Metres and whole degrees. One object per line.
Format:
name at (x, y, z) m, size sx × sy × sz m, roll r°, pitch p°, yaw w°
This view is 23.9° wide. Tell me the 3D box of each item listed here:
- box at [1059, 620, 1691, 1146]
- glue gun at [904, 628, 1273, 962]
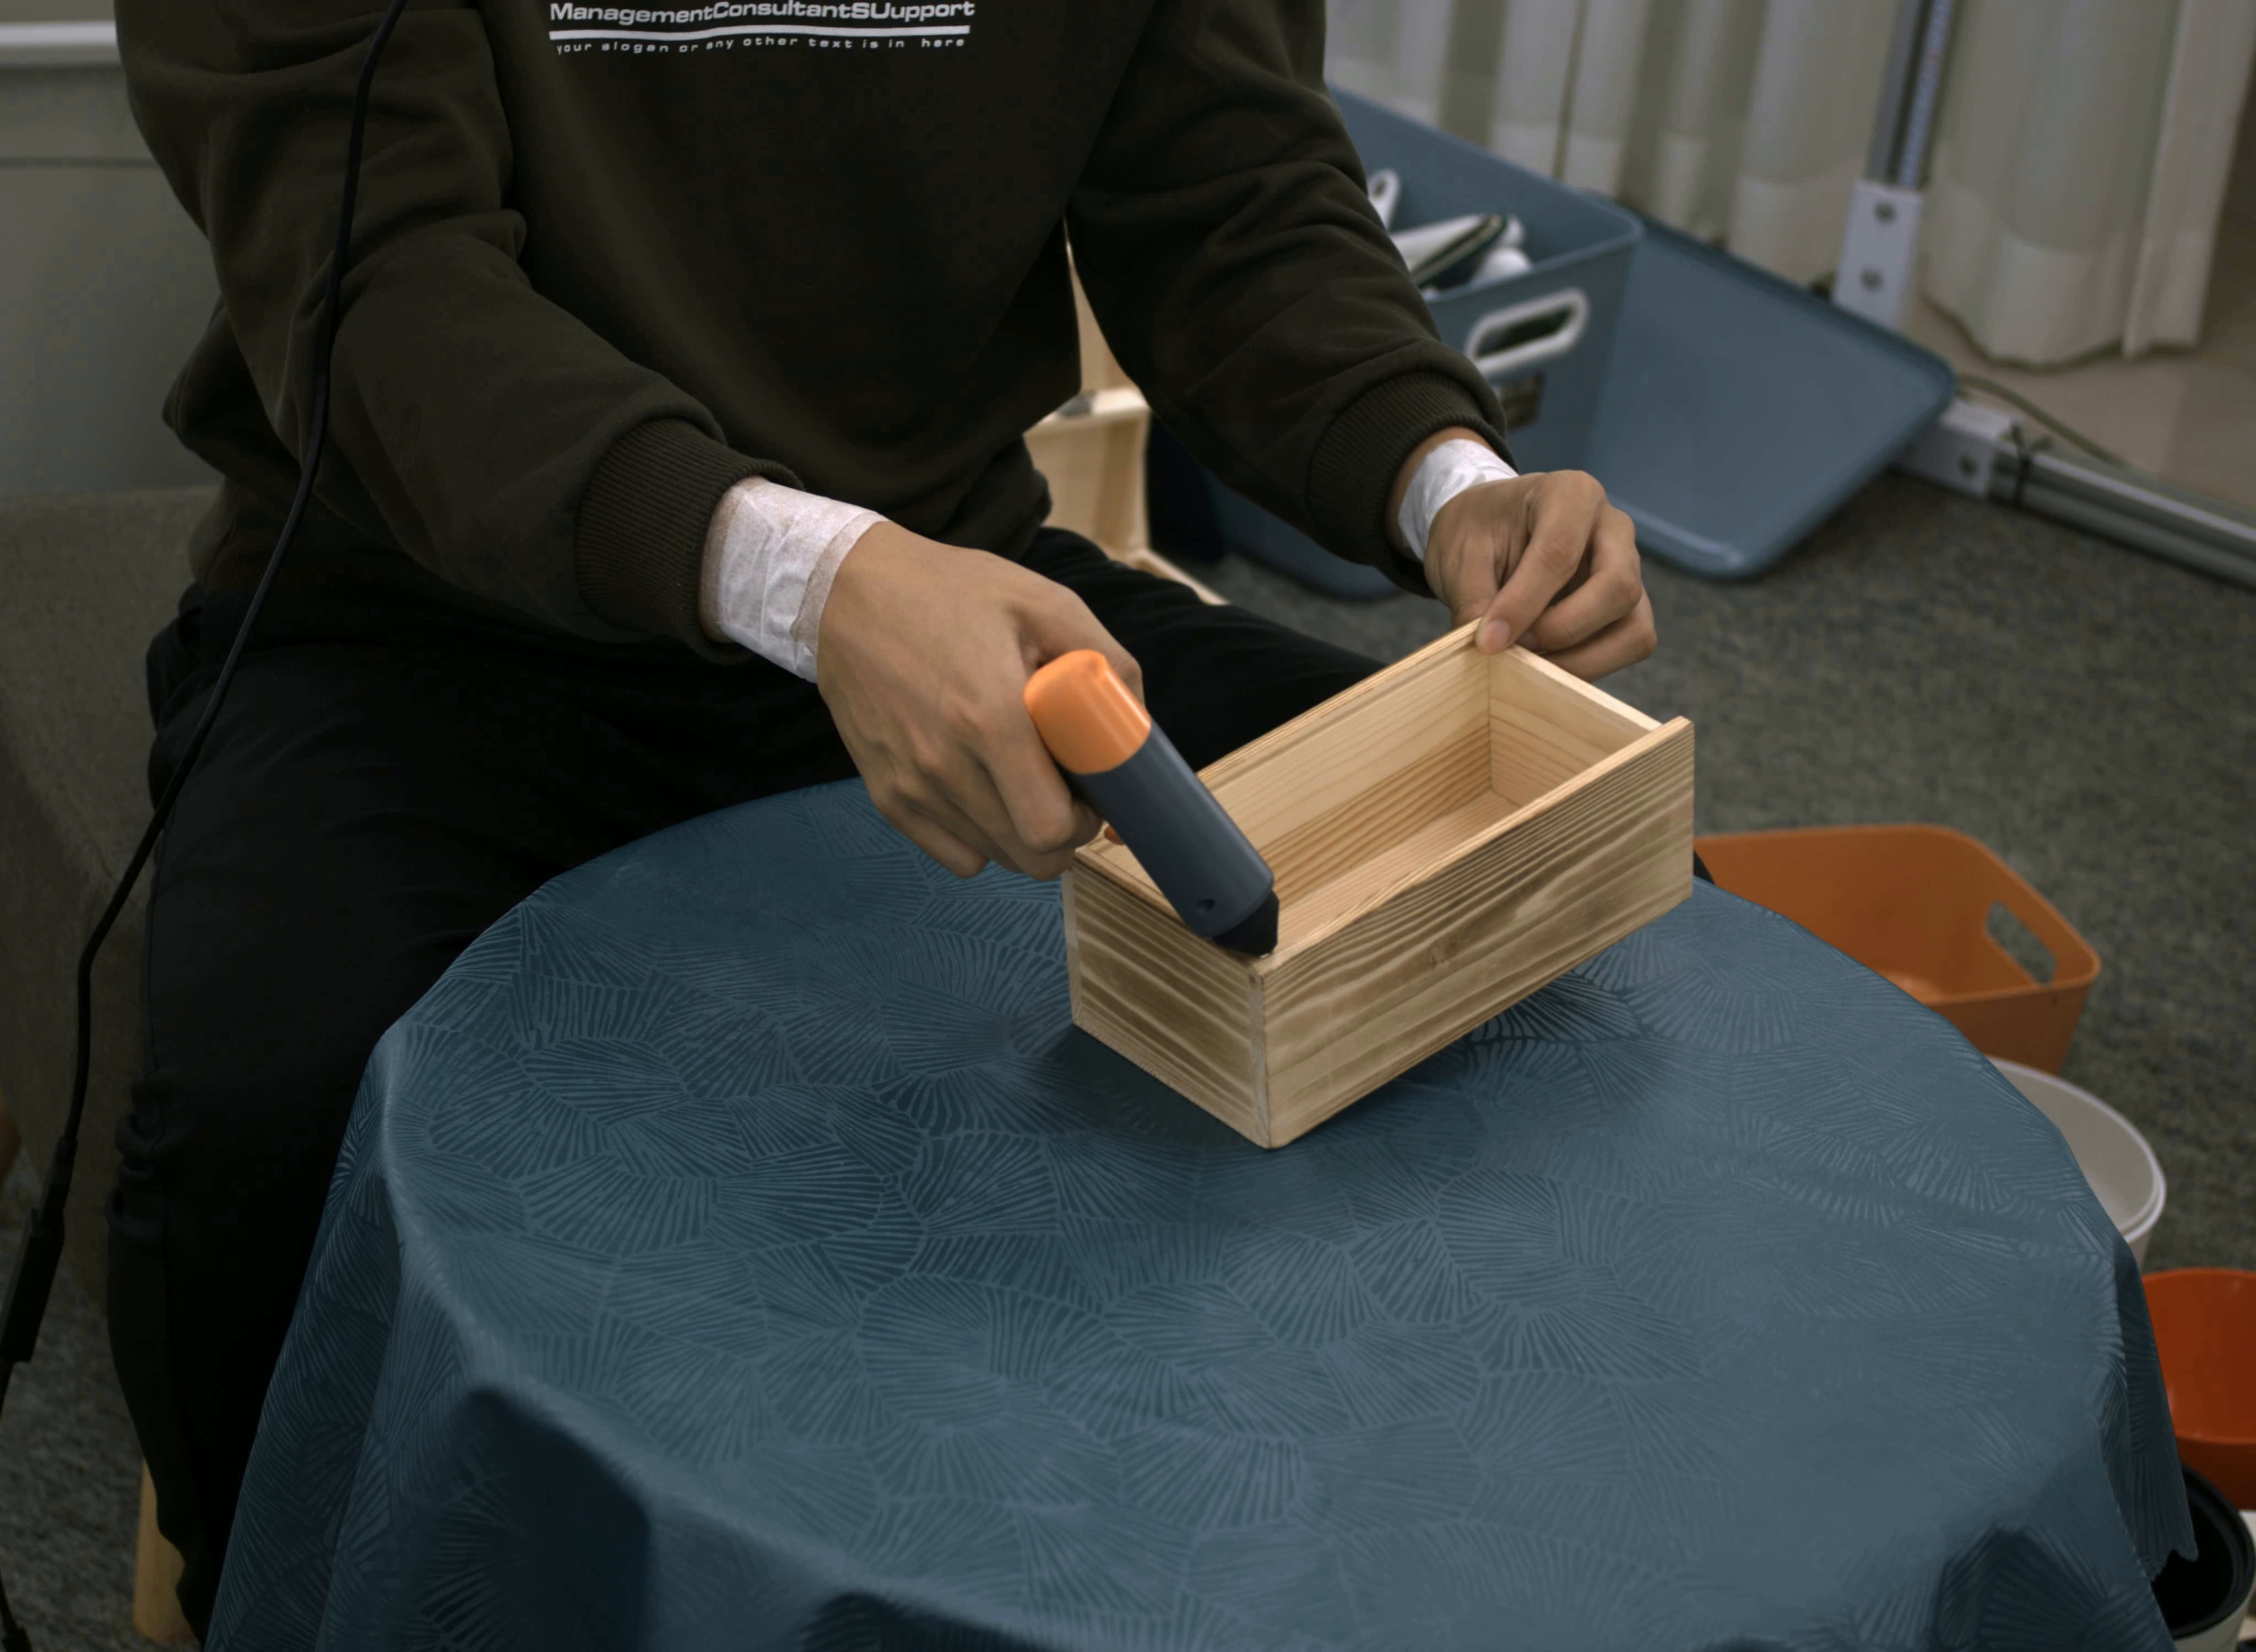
box at (0.091, 0.017, 1.908) m, size 0.211 × 0.080 × 0.108 m, roll -29°, pitch 41°, yaw -31°
glue gun at (-0.012, -0.013, 1.825) m, size 0.041 × 0.117 × 0.141 m, roll -41°, pitch 34°, yaw -17°
